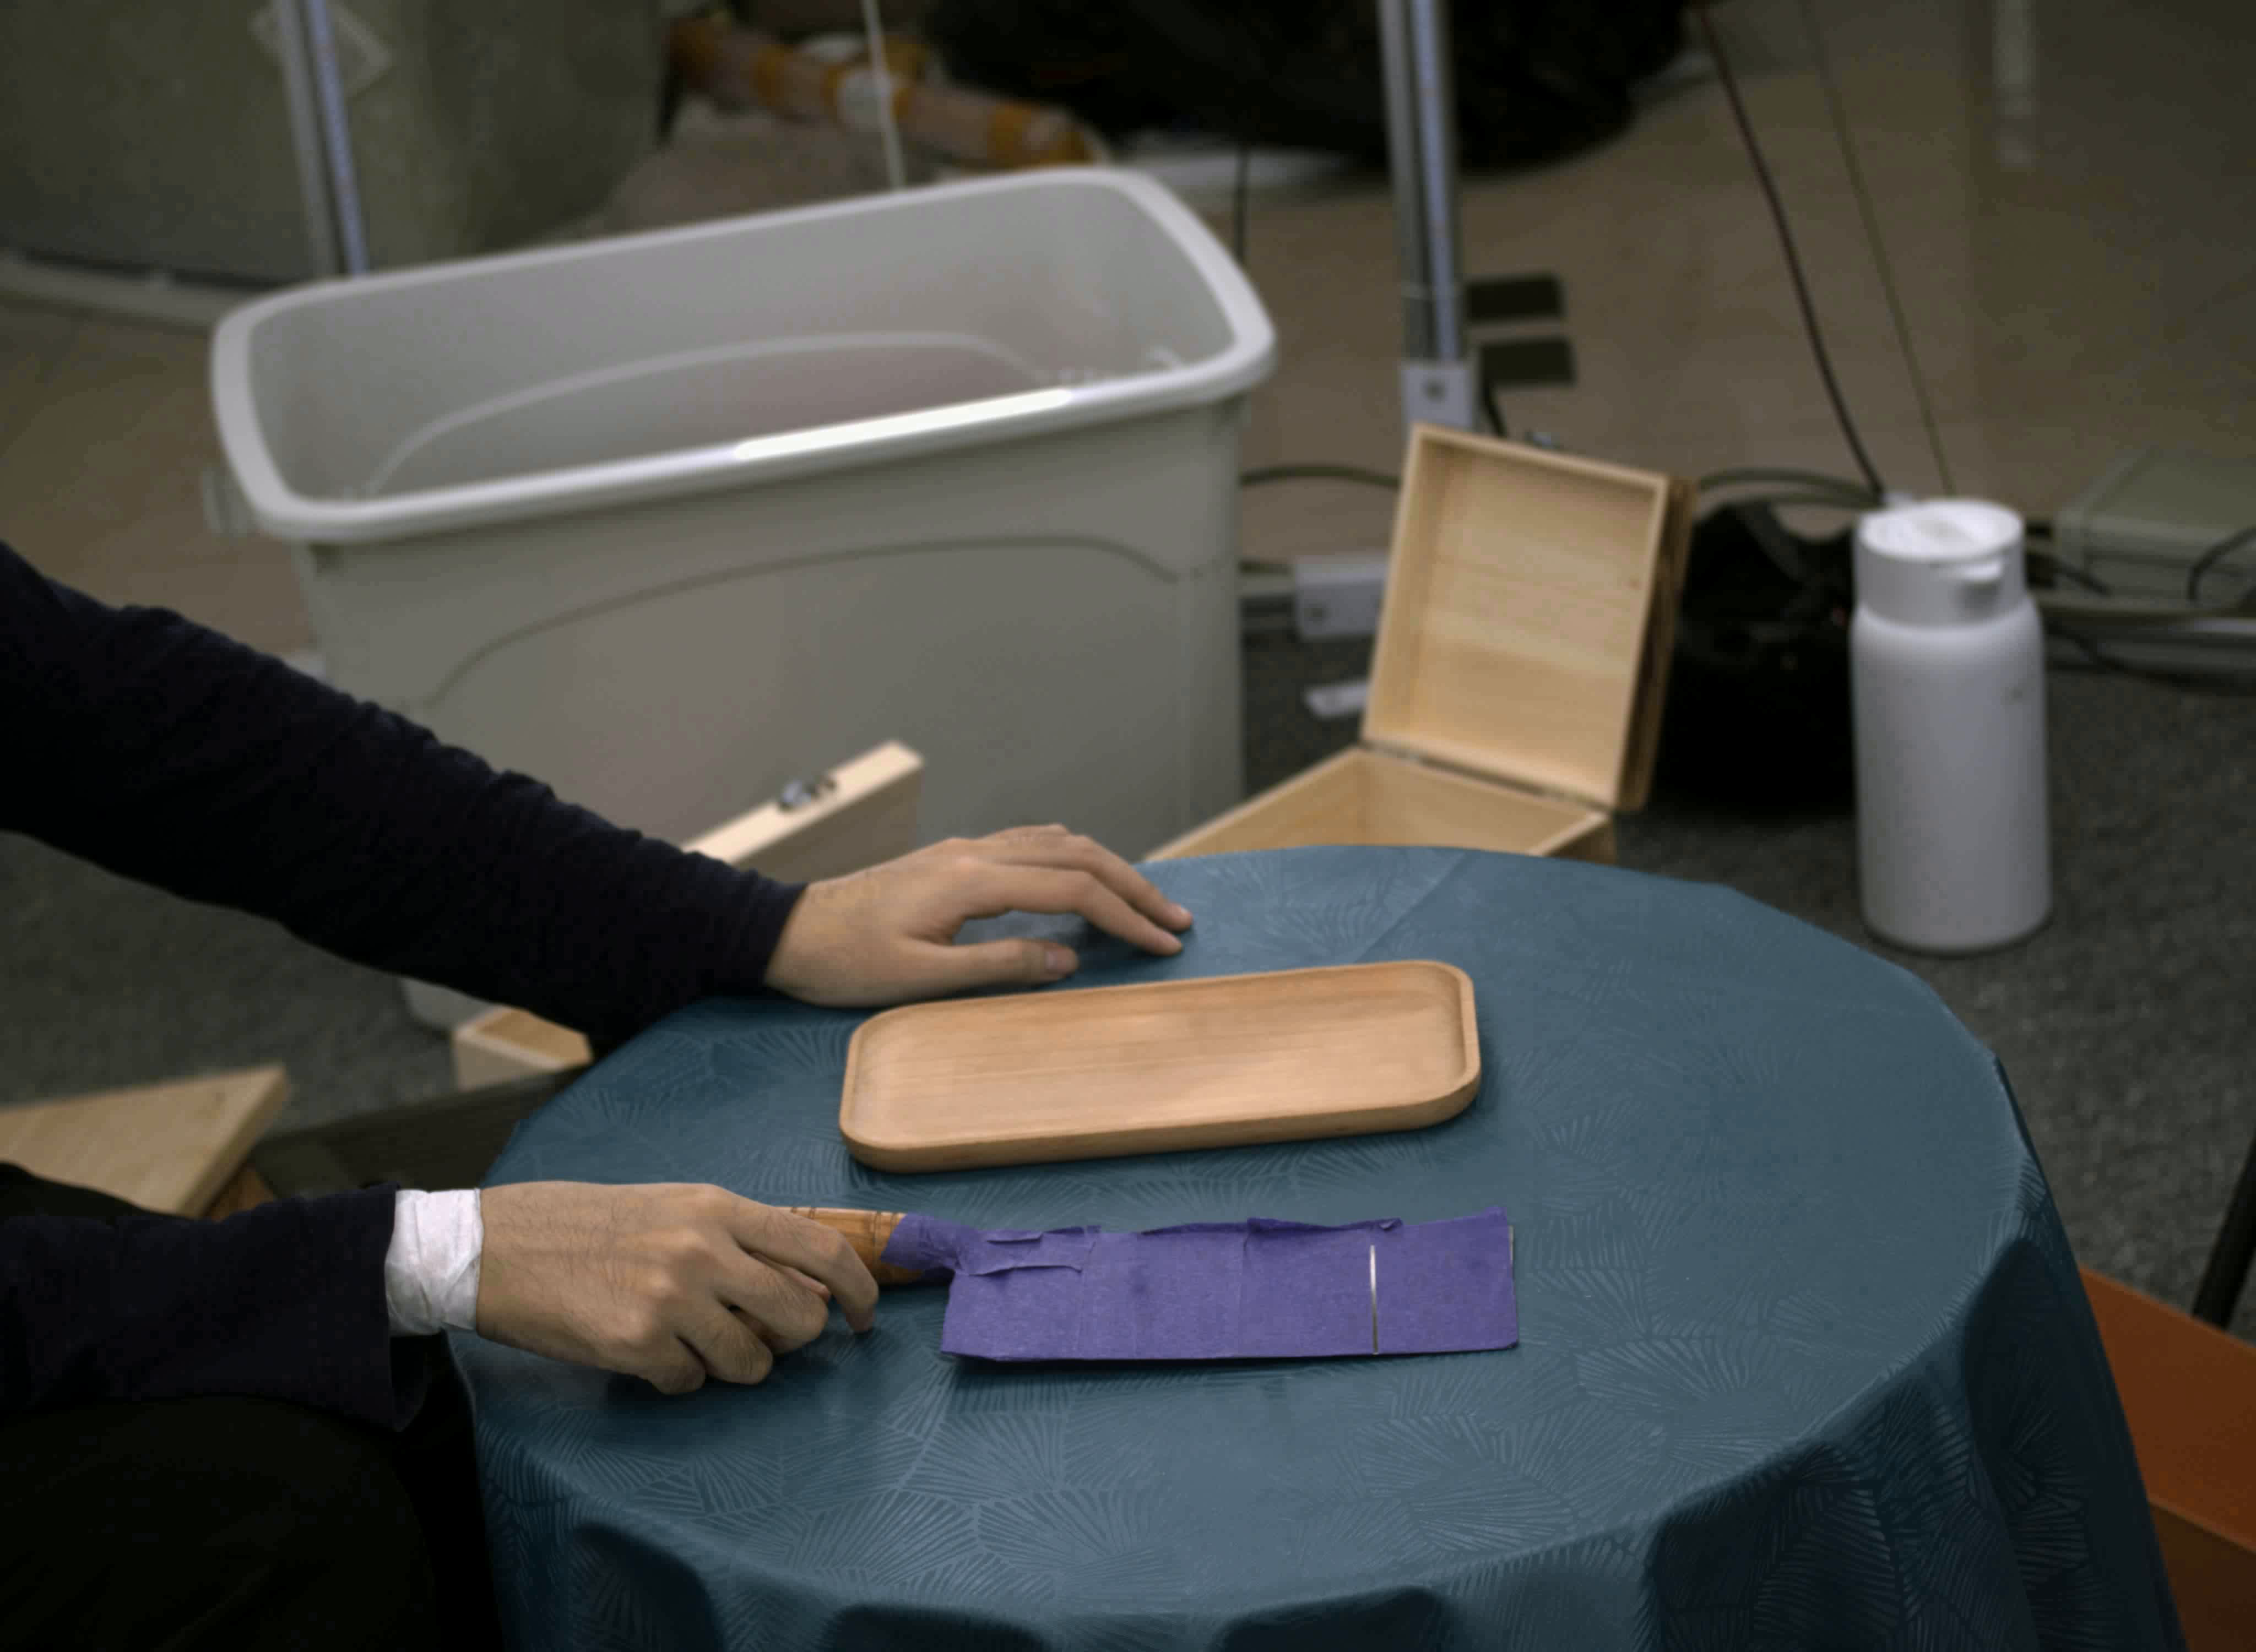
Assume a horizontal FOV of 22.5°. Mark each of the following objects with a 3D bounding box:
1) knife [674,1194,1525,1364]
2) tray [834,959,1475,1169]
[{"bbox_3d":[-0.013,0.165,2.066,0.315,0.033,0.102,-4,25,5],"label":"knife"},{"bbox_3d":[0.012,0.094,2.227,0.250,0.023,0.129,-5,22,6],"label":"tray"}]
